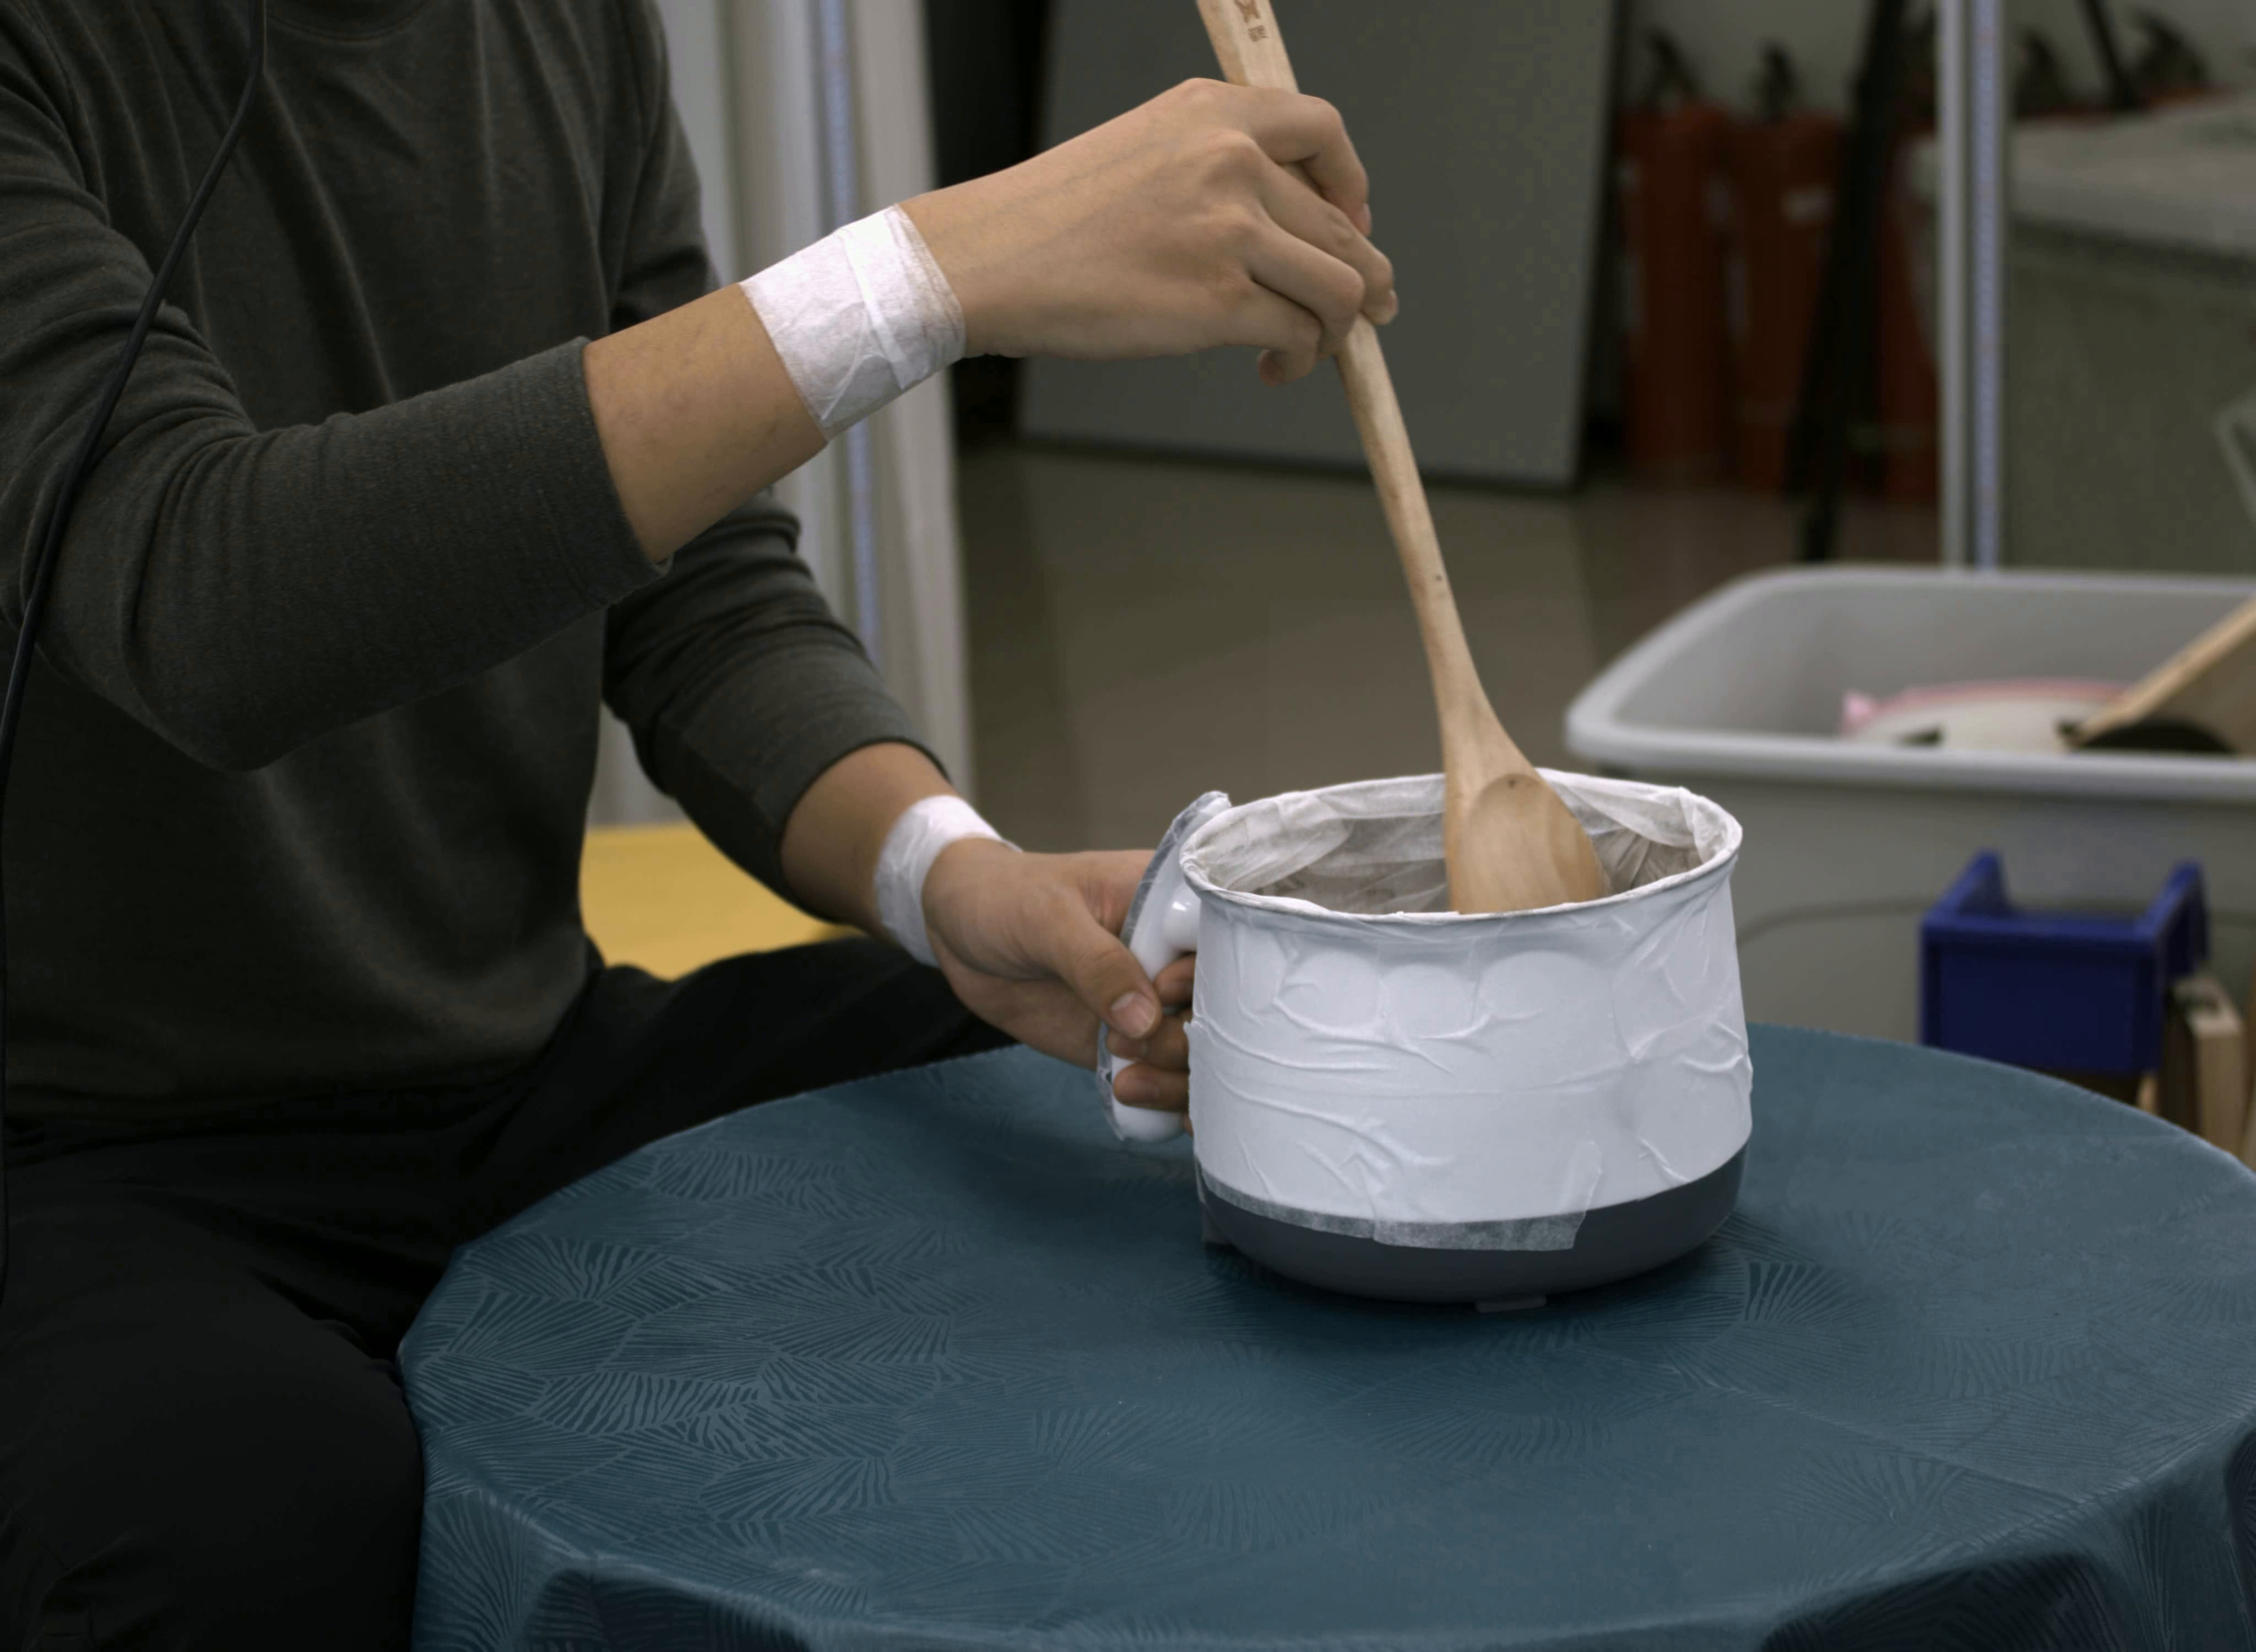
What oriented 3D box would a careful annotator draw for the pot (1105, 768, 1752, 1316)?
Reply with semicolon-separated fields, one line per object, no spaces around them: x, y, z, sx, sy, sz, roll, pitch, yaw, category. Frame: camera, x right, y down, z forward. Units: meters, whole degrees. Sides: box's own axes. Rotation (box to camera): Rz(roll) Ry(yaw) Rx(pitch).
0.085;0.063;1.703;0.235;0.138;0.175;6;17;39;pot

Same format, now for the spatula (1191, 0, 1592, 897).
0.076;-0.112;1.675;0.018;0.394;0.094;-13;9;32;spatula
